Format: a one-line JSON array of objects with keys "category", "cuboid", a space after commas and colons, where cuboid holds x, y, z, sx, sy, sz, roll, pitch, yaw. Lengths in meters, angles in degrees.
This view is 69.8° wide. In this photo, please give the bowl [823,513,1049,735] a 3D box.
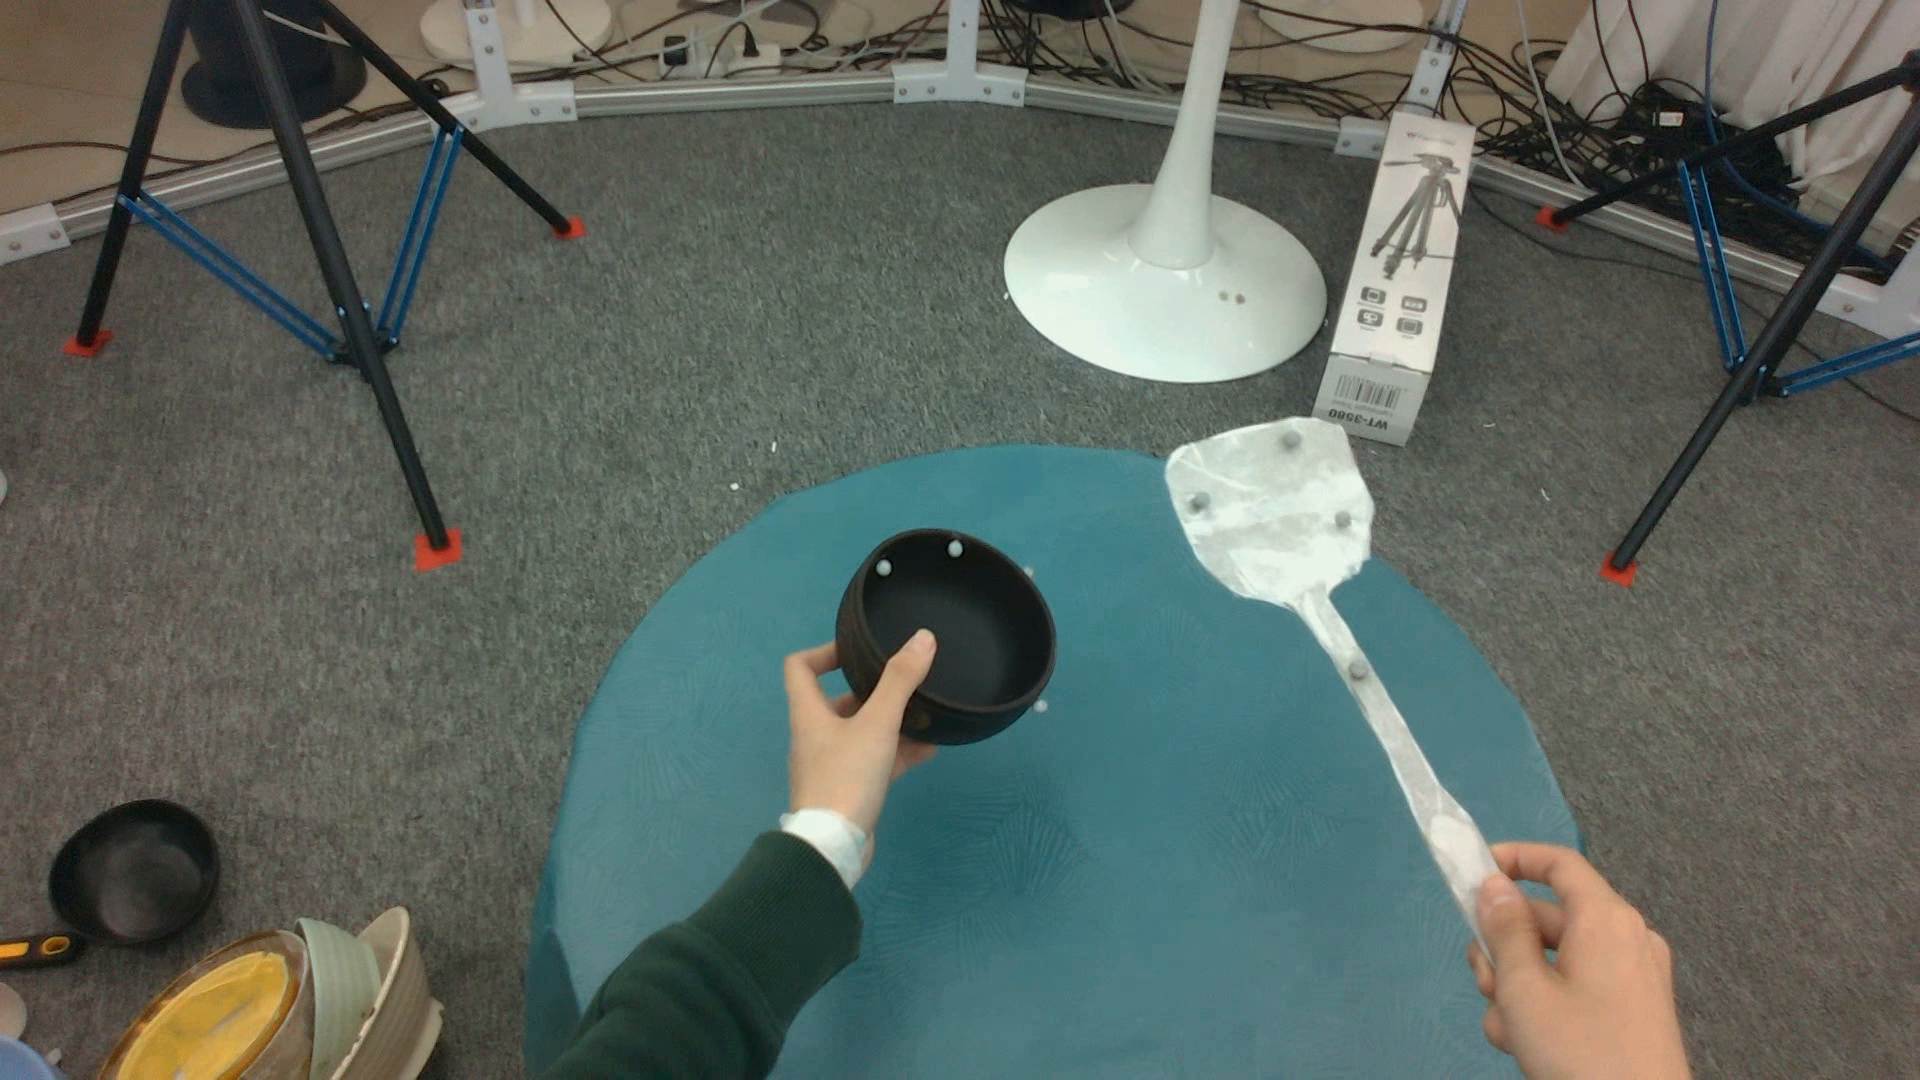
[{"category": "bowl", "cuboid": [-0.018, 0.052, 0.736, 0.118, 0.069, 0.118, 14, 50, -17]}]

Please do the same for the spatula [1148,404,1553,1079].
[{"category": "spatula", "cuboid": [0.176, 0.068, 0.607, 0.099, 0.044, 0.366, -11, 44, -4]}]
